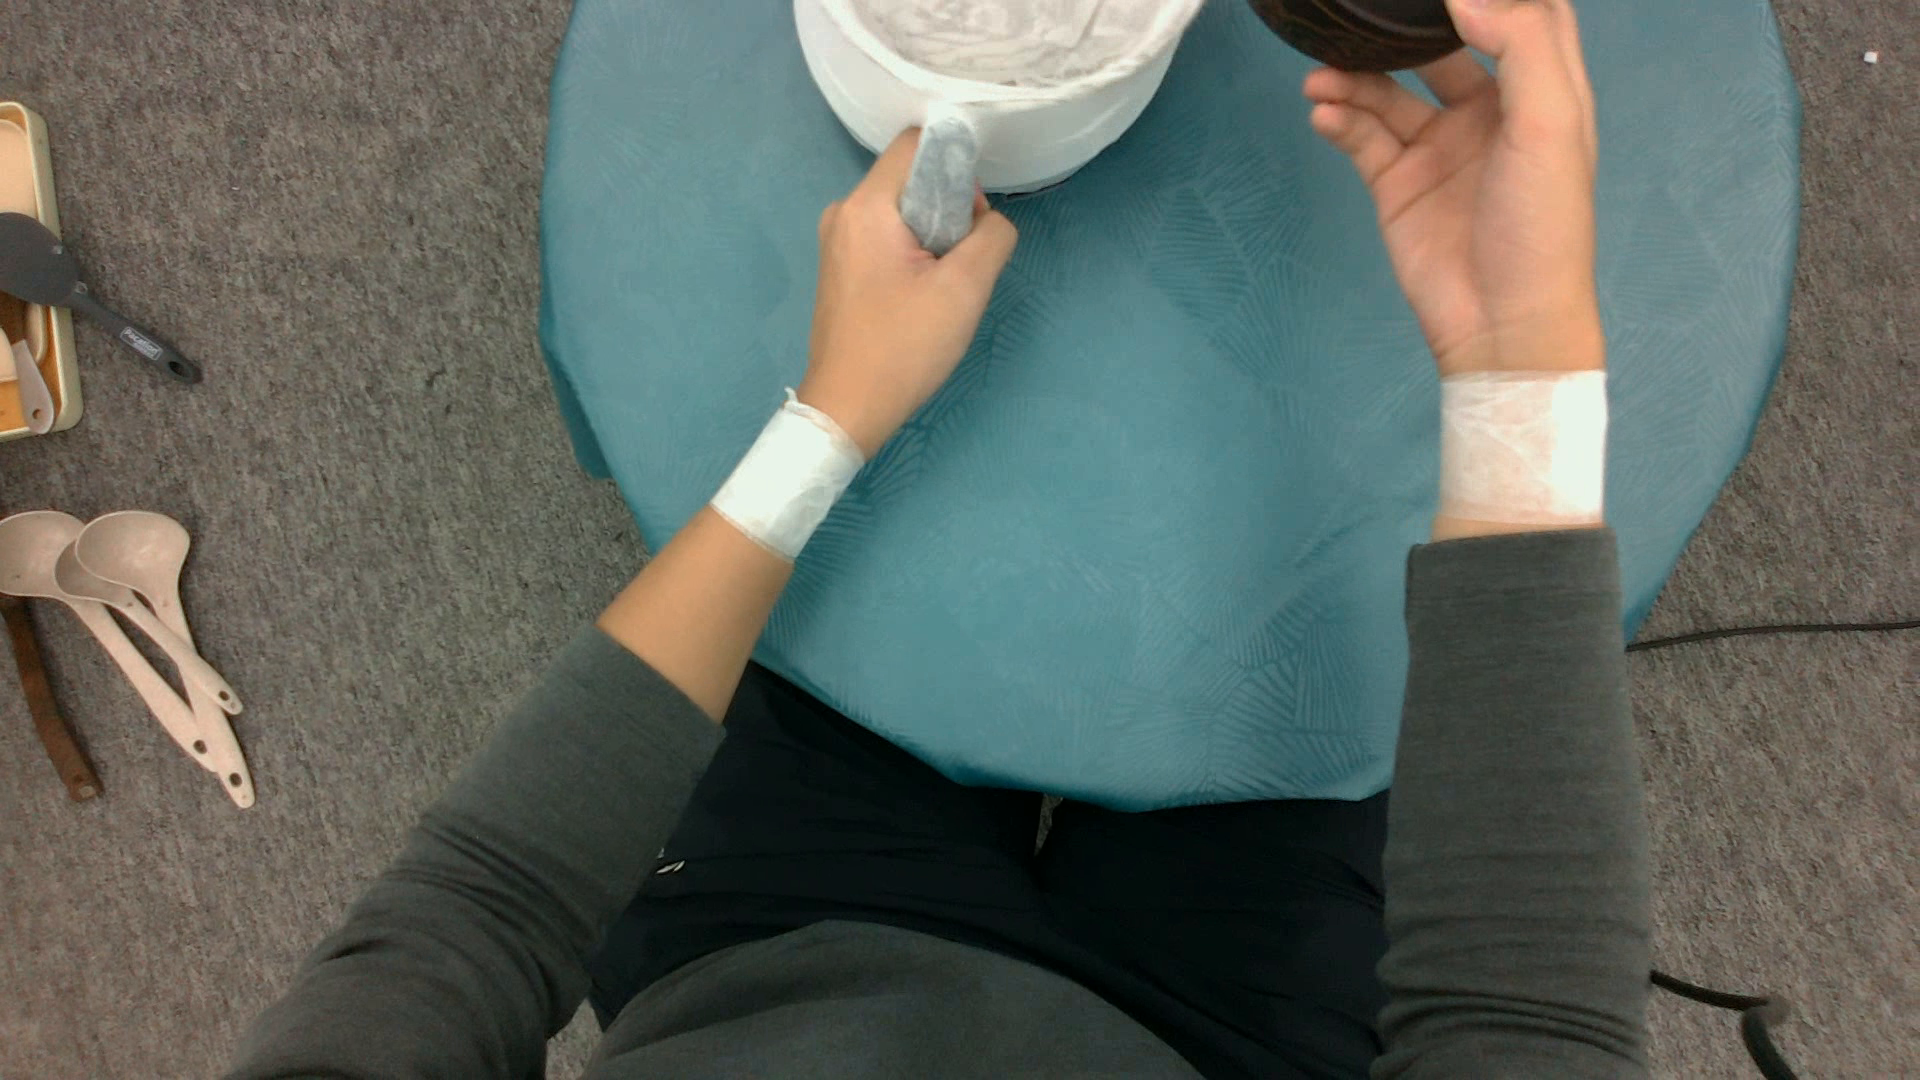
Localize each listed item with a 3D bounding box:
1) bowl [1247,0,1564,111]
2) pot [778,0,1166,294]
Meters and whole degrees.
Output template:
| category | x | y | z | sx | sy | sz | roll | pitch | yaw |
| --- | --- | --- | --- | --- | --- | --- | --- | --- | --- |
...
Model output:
| category | x | y | z | sx | sy | sz | roll | pitch | yaw |
| --- | --- | --- | --- | --- | --- | --- | --- | --- | --- |
| bowl | 0.159 | -0.219 | 0.513 | 0.118 | 0.070 | 0.118 | -1 | 97 | -12 |
| pot | 0.001 | -0.228 | 0.594 | 0.179 | 0.136 | 0.234 | 11 | 86 | -1 |
